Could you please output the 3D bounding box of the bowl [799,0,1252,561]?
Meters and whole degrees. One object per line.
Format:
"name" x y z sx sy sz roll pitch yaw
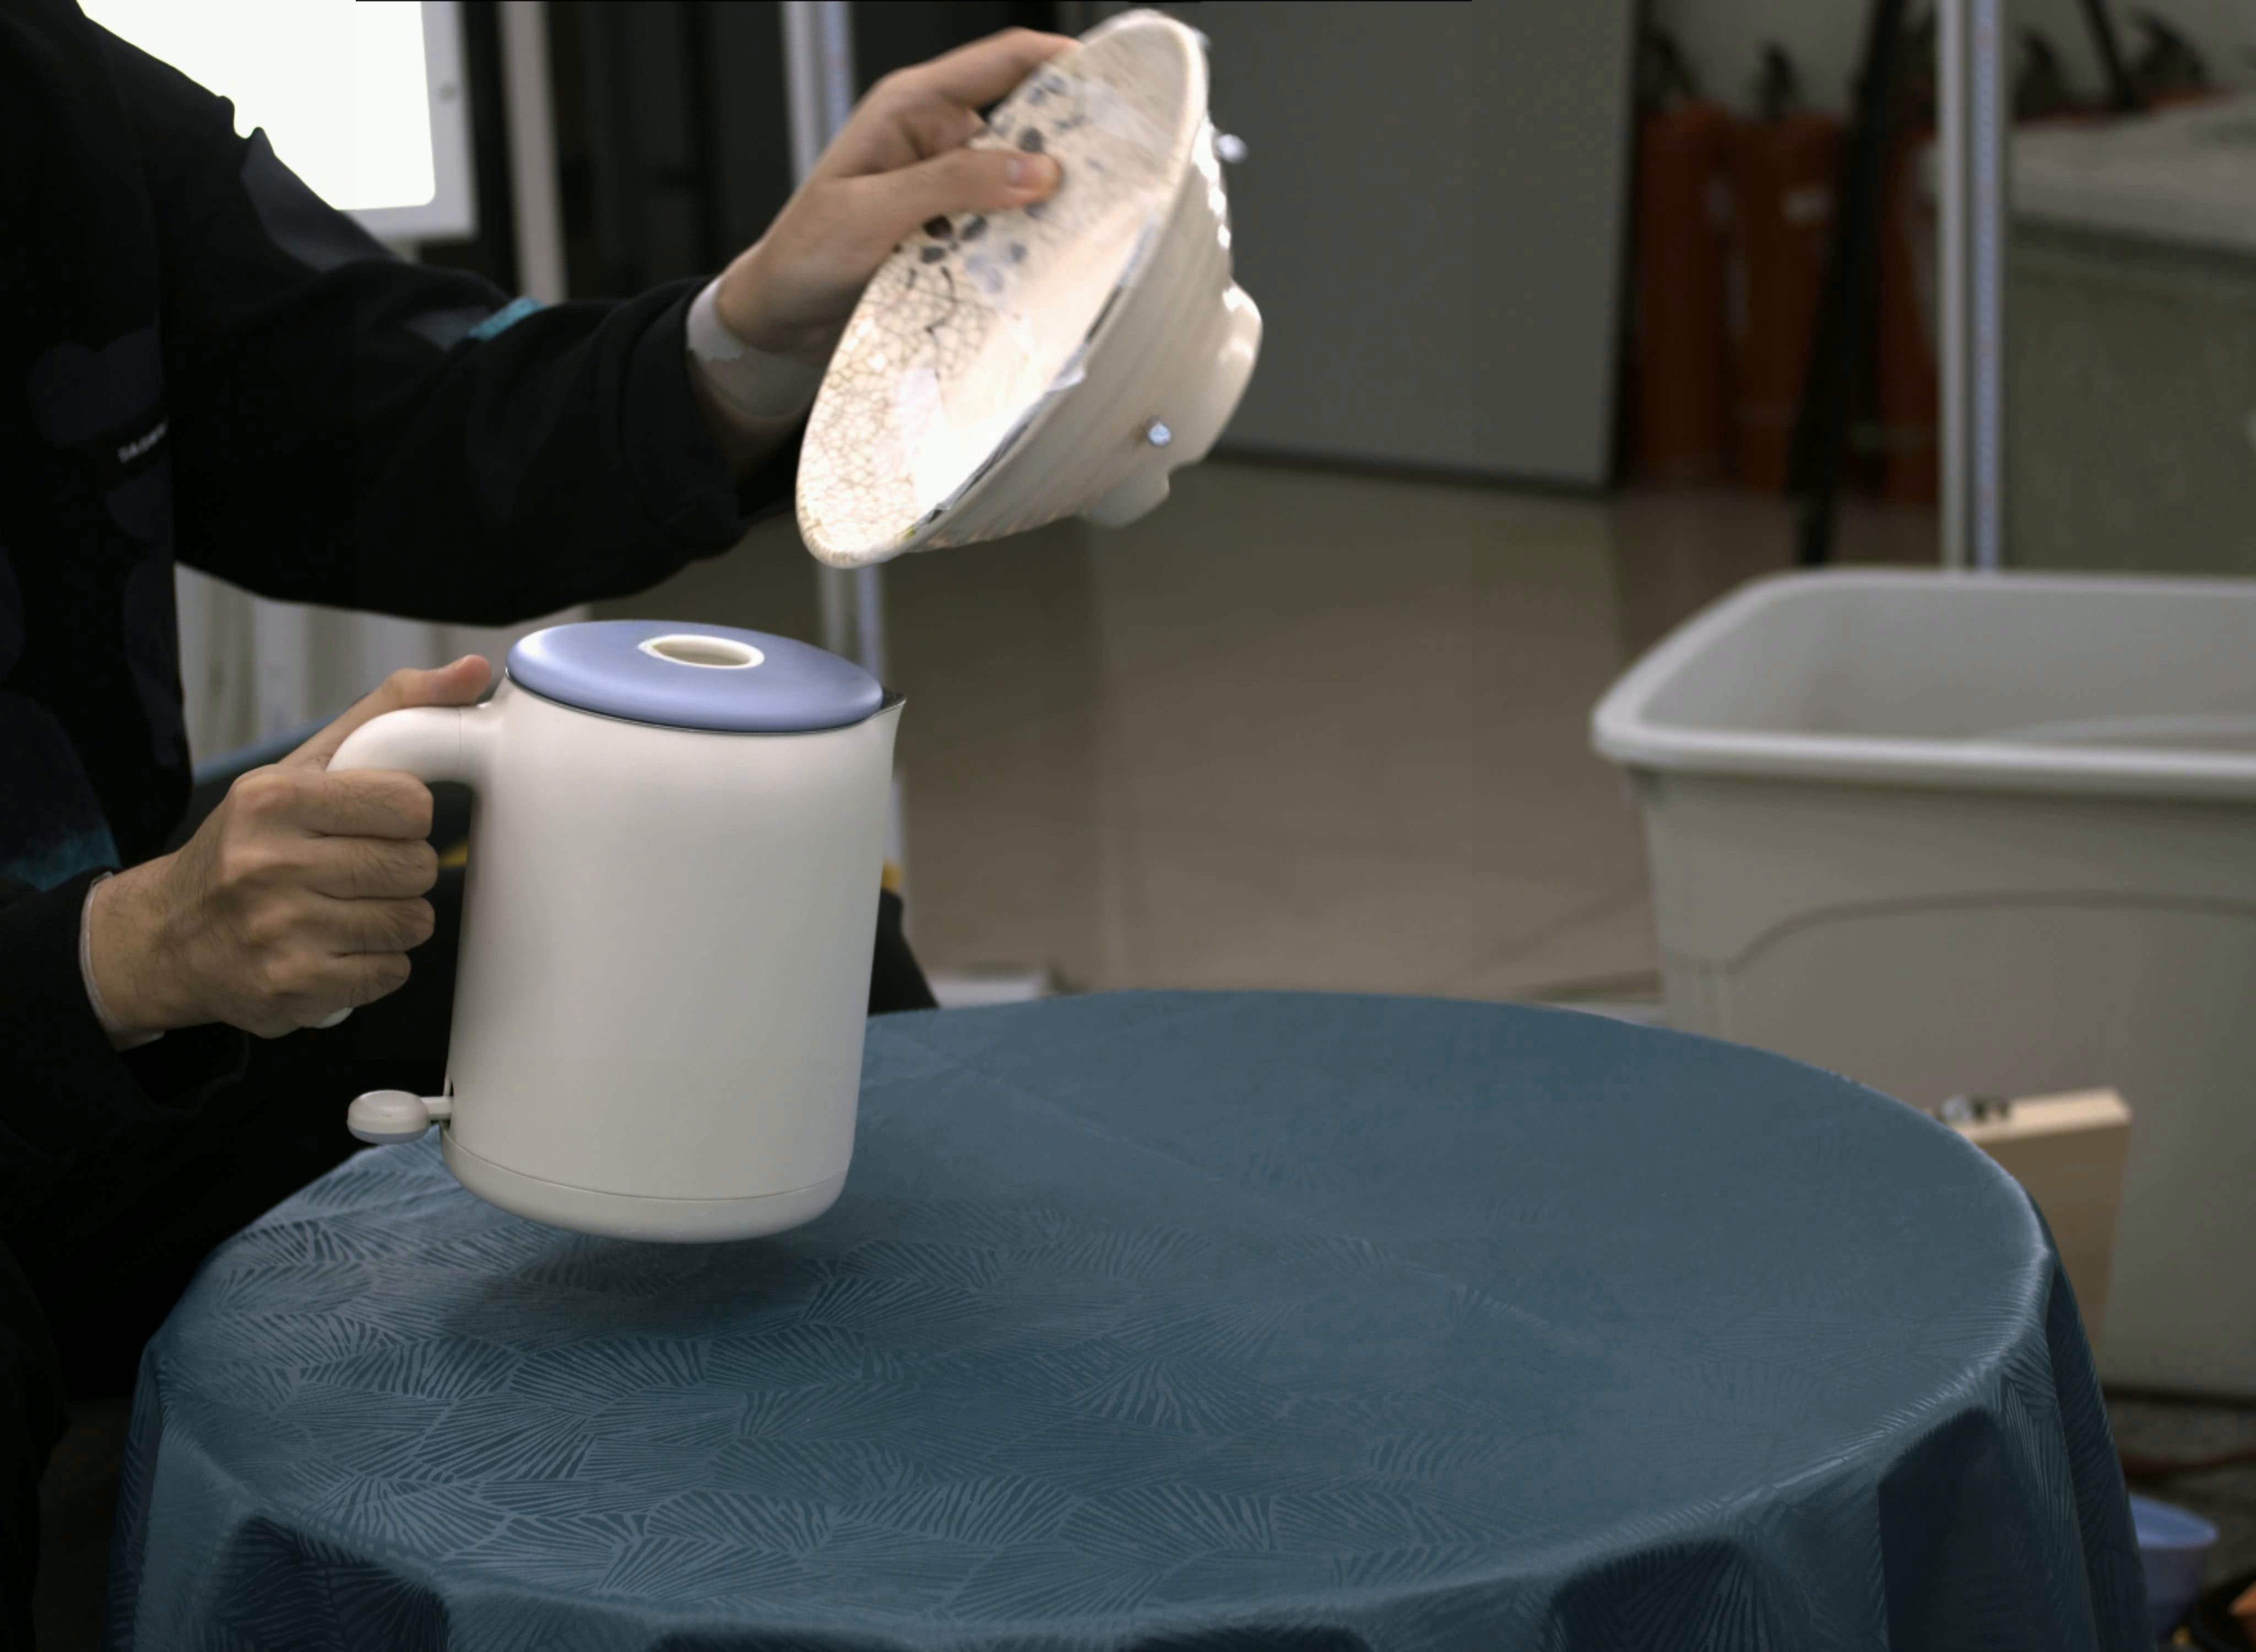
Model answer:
"bowl" -0.016 -0.156 1.691 0.077 0.205 0.205 29 3 -19

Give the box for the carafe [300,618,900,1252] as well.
"carafe" -0.163 0.034 1.681 0.187 0.185 0.133 -2 13 -19
